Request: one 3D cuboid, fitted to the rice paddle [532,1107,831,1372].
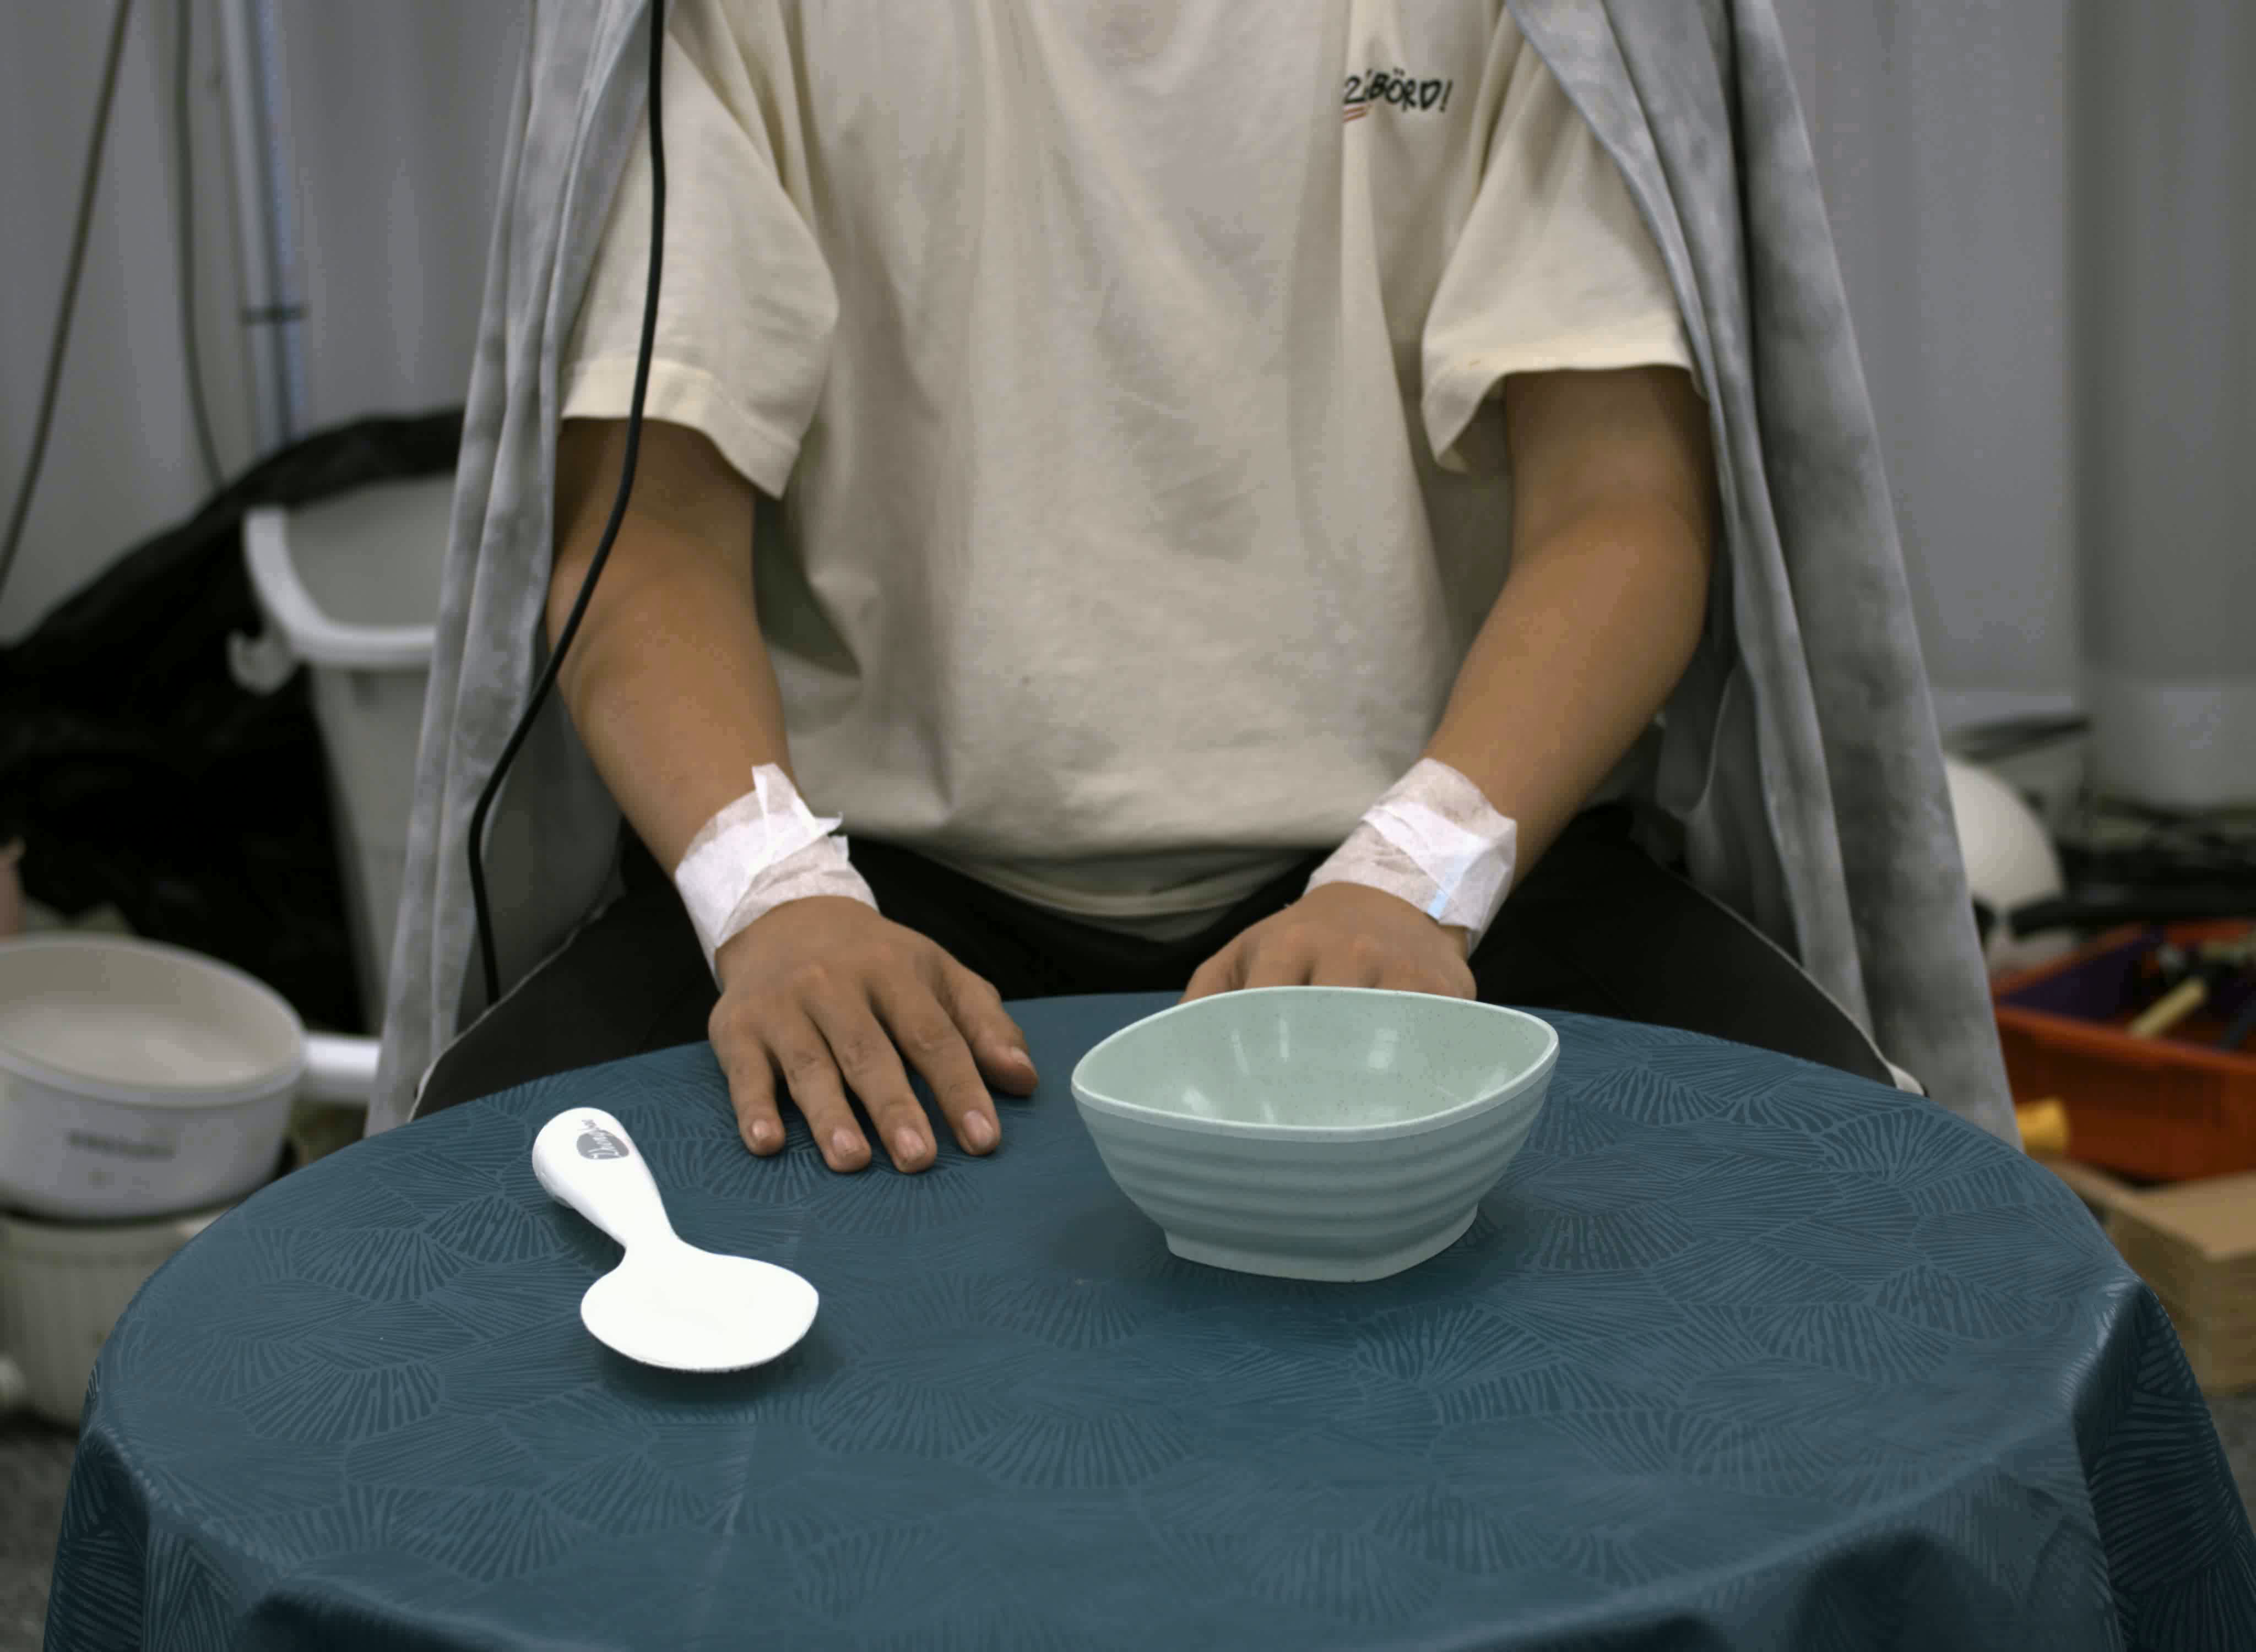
[{"bbox_3d":[-0.141,0.126,1.644,0.068,0.029,0.207,-9,16,-17],"label":"rice paddle"}]

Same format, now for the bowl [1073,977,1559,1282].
[{"bbox_3d":[0.060,0.096,1.663,0.151,0.058,0.152,-6,16,1],"label":"bowl"}]
